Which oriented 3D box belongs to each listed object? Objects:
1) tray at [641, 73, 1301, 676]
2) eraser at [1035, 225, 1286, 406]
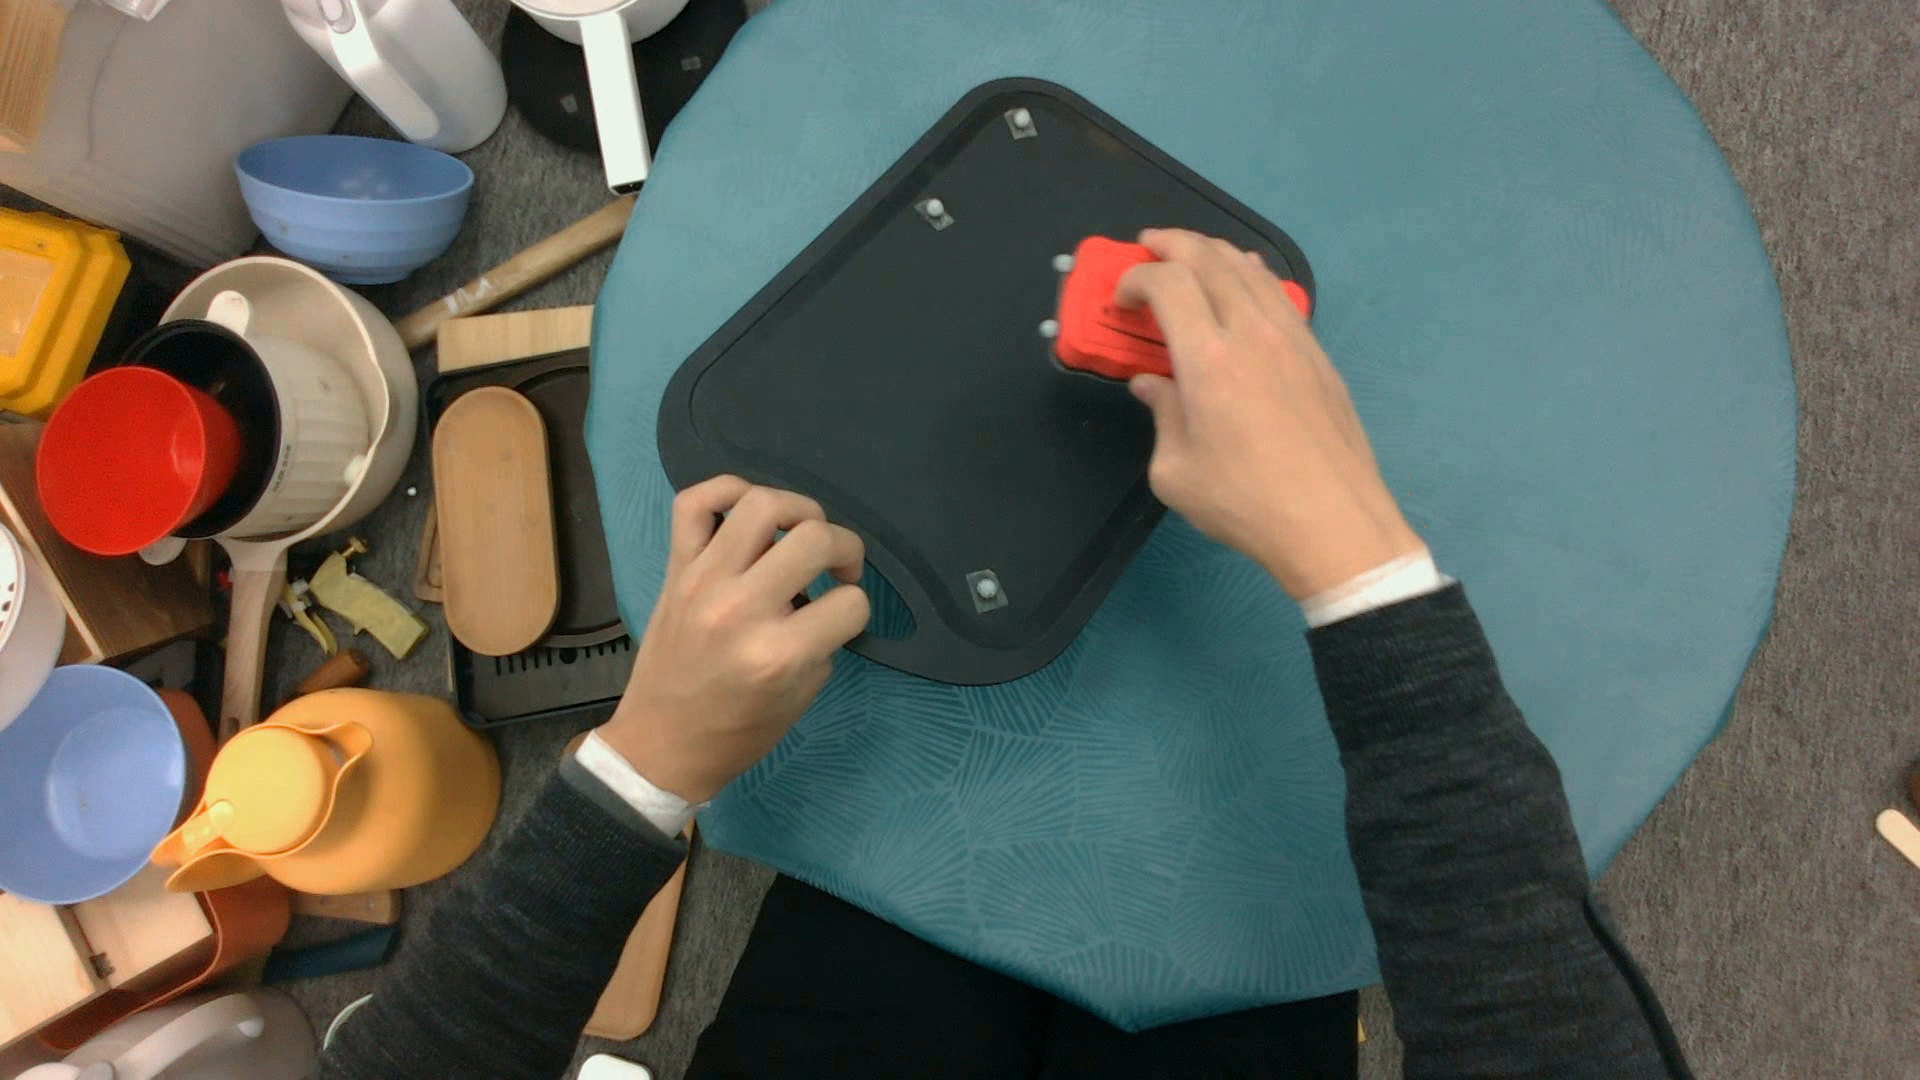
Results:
[{"bbox_3d":[0.013,-0.088,0.635,0.211,0.010,0.327,36,63,8],"label":"tray"},{"bbox_3d":[0.089,-0.098,0.605,0.108,0.023,0.059,11,72,-11],"label":"eraser"}]
